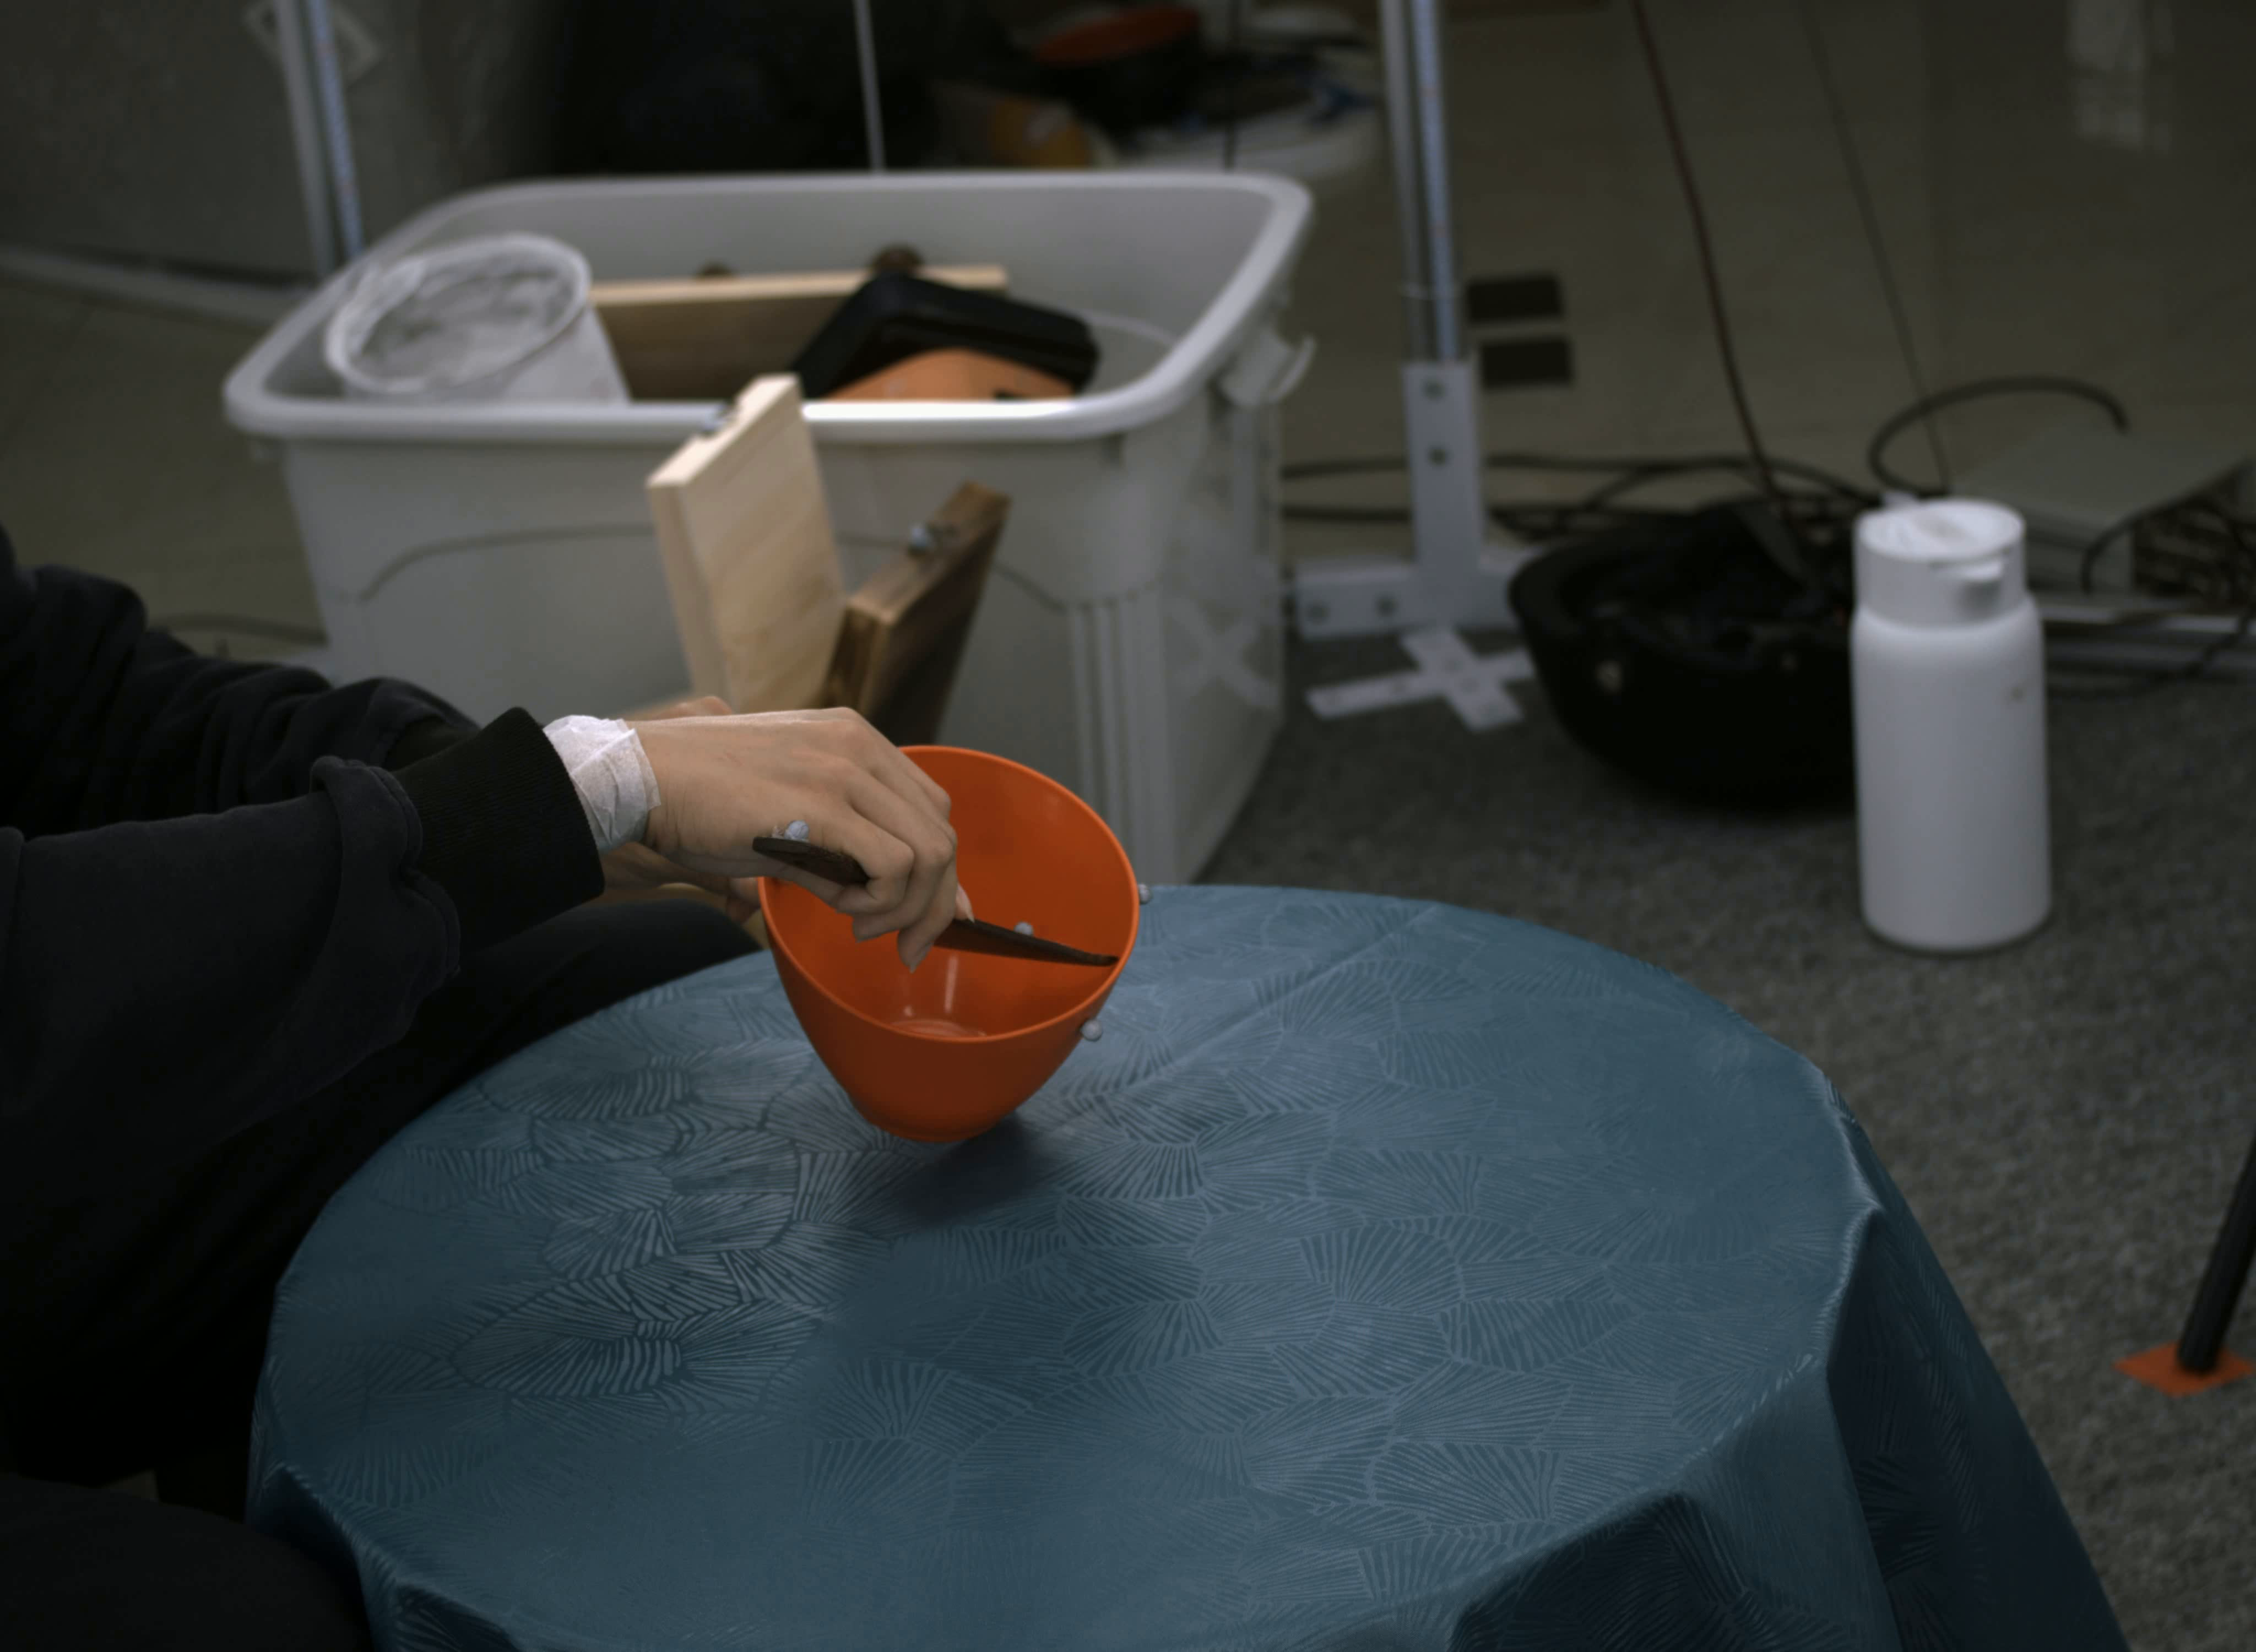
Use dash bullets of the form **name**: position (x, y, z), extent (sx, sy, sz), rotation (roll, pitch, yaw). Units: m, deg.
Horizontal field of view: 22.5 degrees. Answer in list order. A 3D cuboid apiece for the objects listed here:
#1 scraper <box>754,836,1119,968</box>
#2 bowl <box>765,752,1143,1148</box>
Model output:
- **scraper**: position (-0.078, 0.030, 2.109), extent (0.075, 0.011, 0.213), rotation (6, -10, 28)
- **bowl**: position (-0.072, 0.057, 2.200), extent (0.148, 0.106, 0.145), rotation (7, 38, -5)
